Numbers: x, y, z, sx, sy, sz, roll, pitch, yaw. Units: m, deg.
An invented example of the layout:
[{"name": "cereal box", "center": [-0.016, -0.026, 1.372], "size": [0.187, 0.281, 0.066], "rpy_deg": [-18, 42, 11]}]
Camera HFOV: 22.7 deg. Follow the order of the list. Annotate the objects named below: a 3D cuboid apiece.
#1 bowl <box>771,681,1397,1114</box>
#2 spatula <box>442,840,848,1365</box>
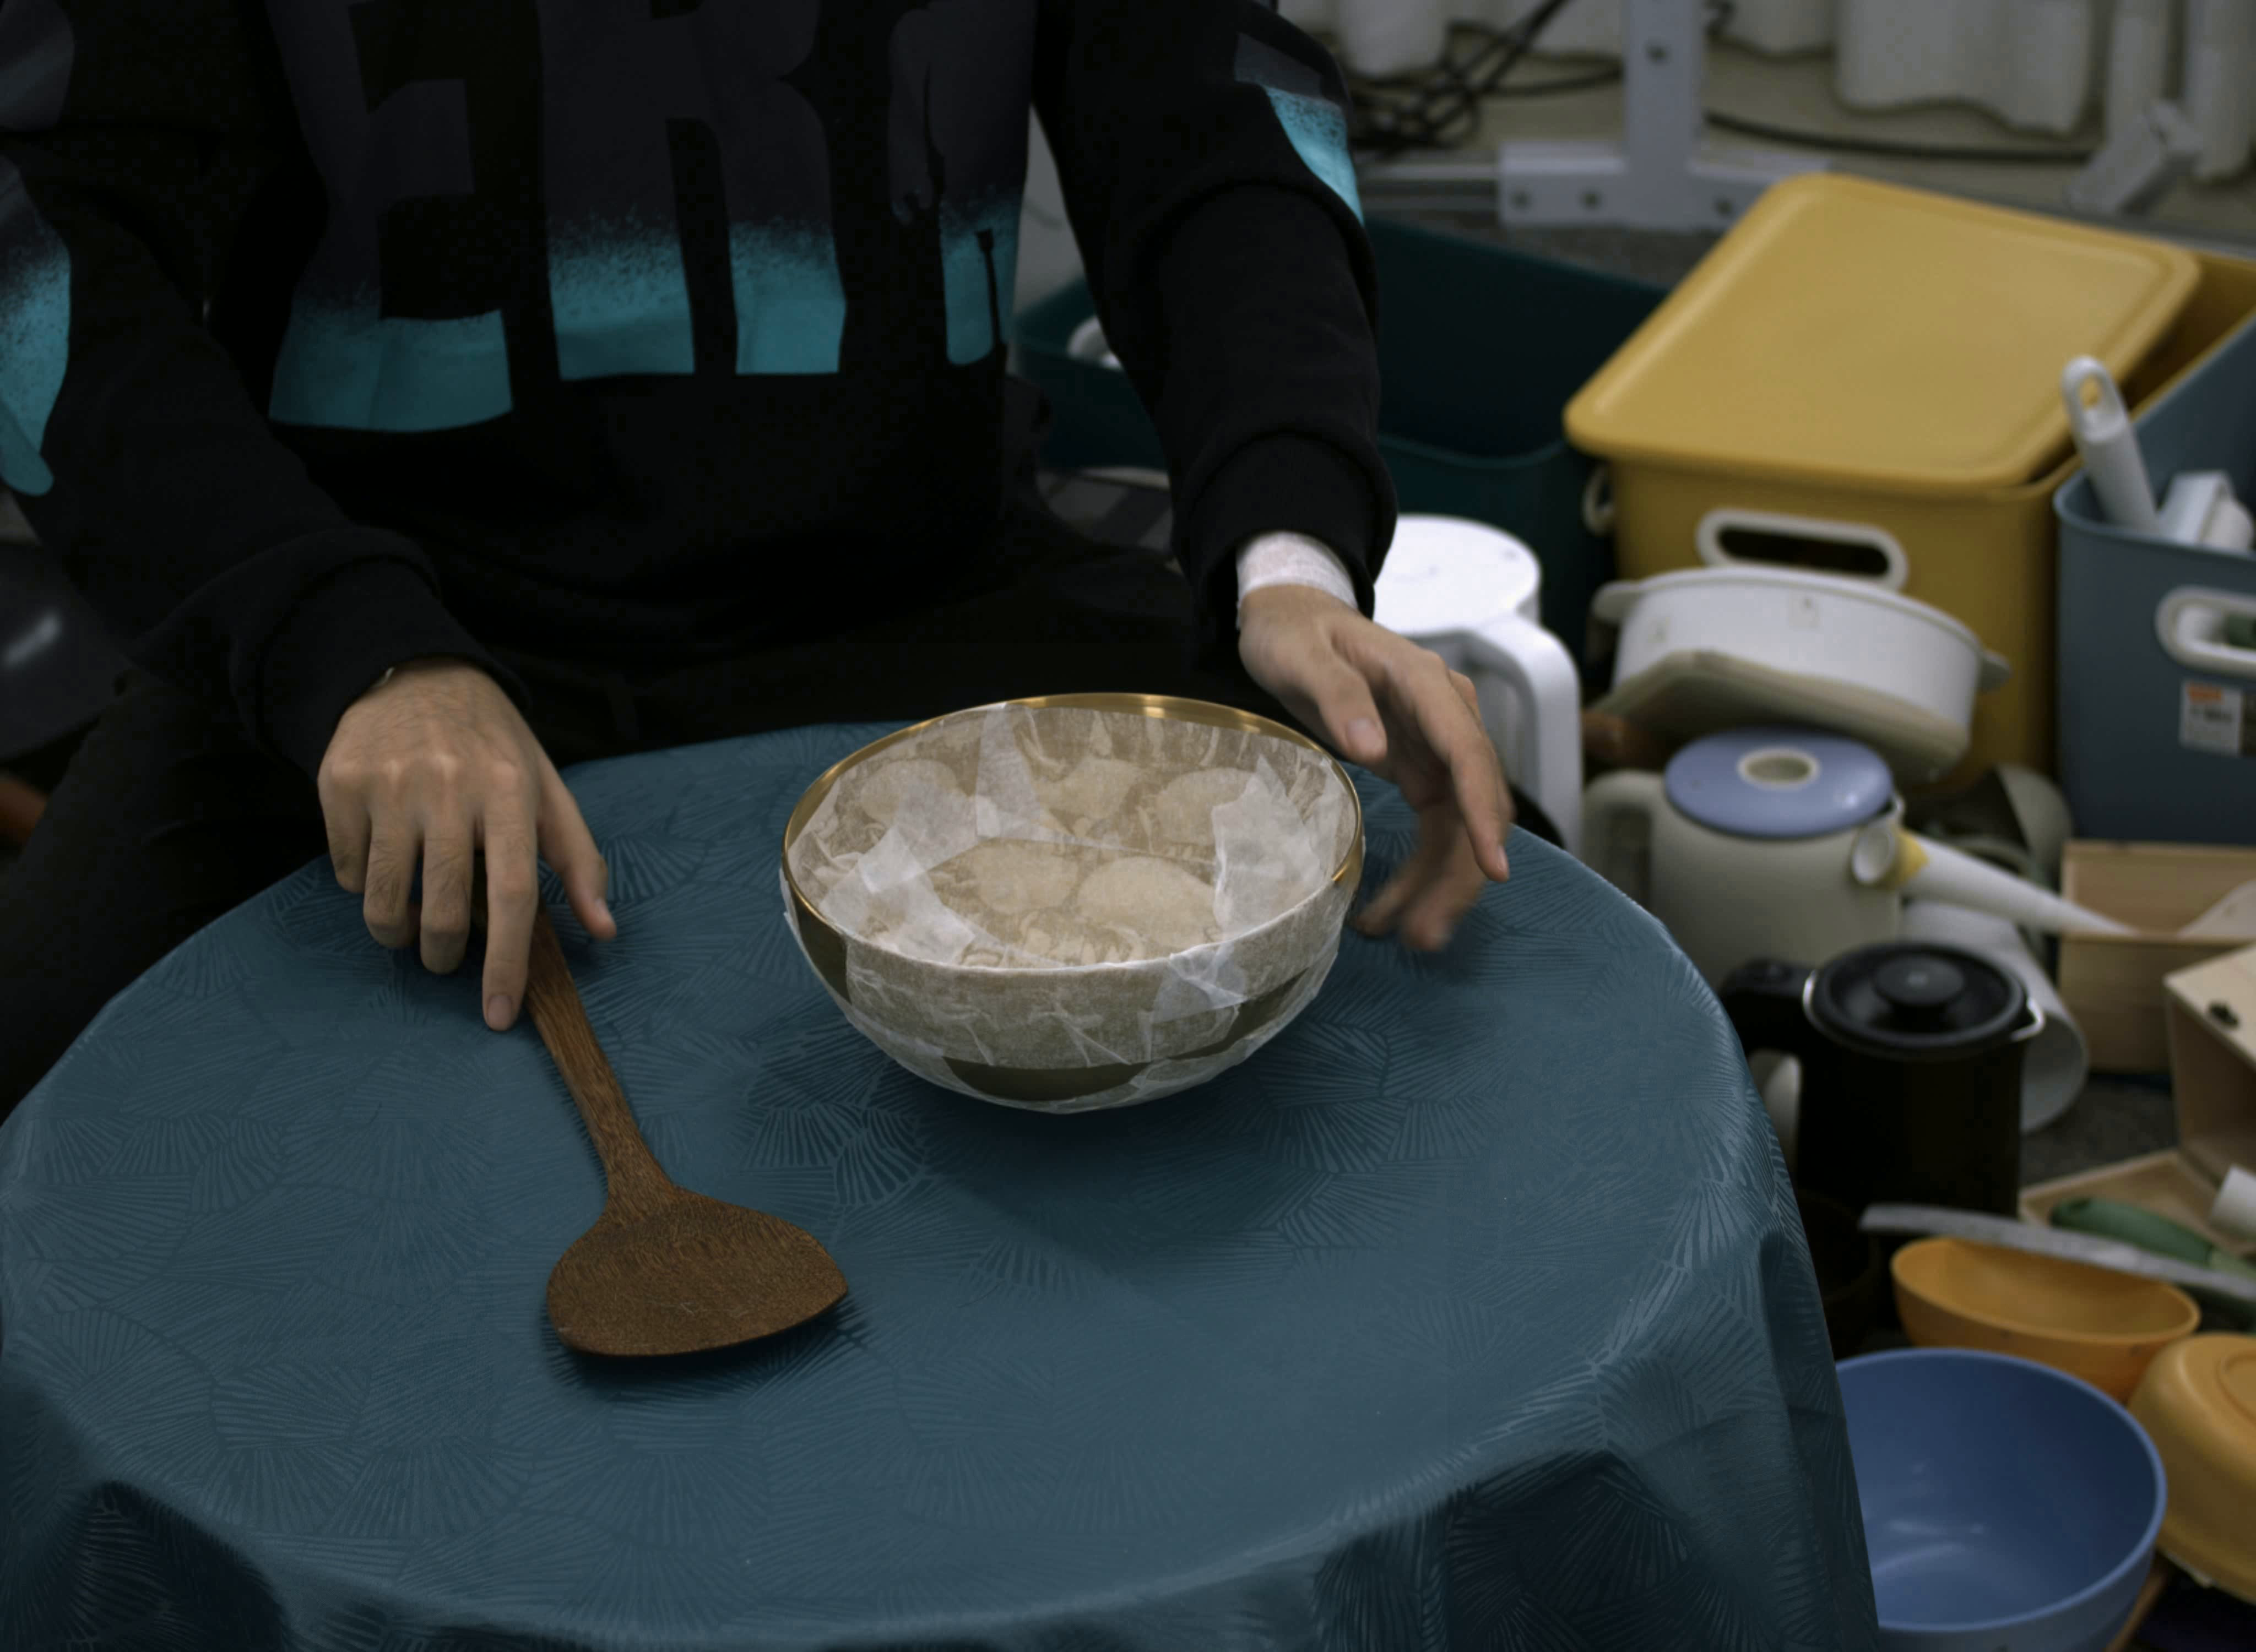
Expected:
[{"name": "bowl", "center": [-0.014, 0.037, 1.925], "size": [0.213, 0.093, 0.218], "rpy_deg": [-4, 27, 2]}, {"name": "spatula", "center": [-0.186, 0.086, 1.933], "size": [0.096, 0.015, 0.389], "rpy_deg": [-10, 28, -15]}]
